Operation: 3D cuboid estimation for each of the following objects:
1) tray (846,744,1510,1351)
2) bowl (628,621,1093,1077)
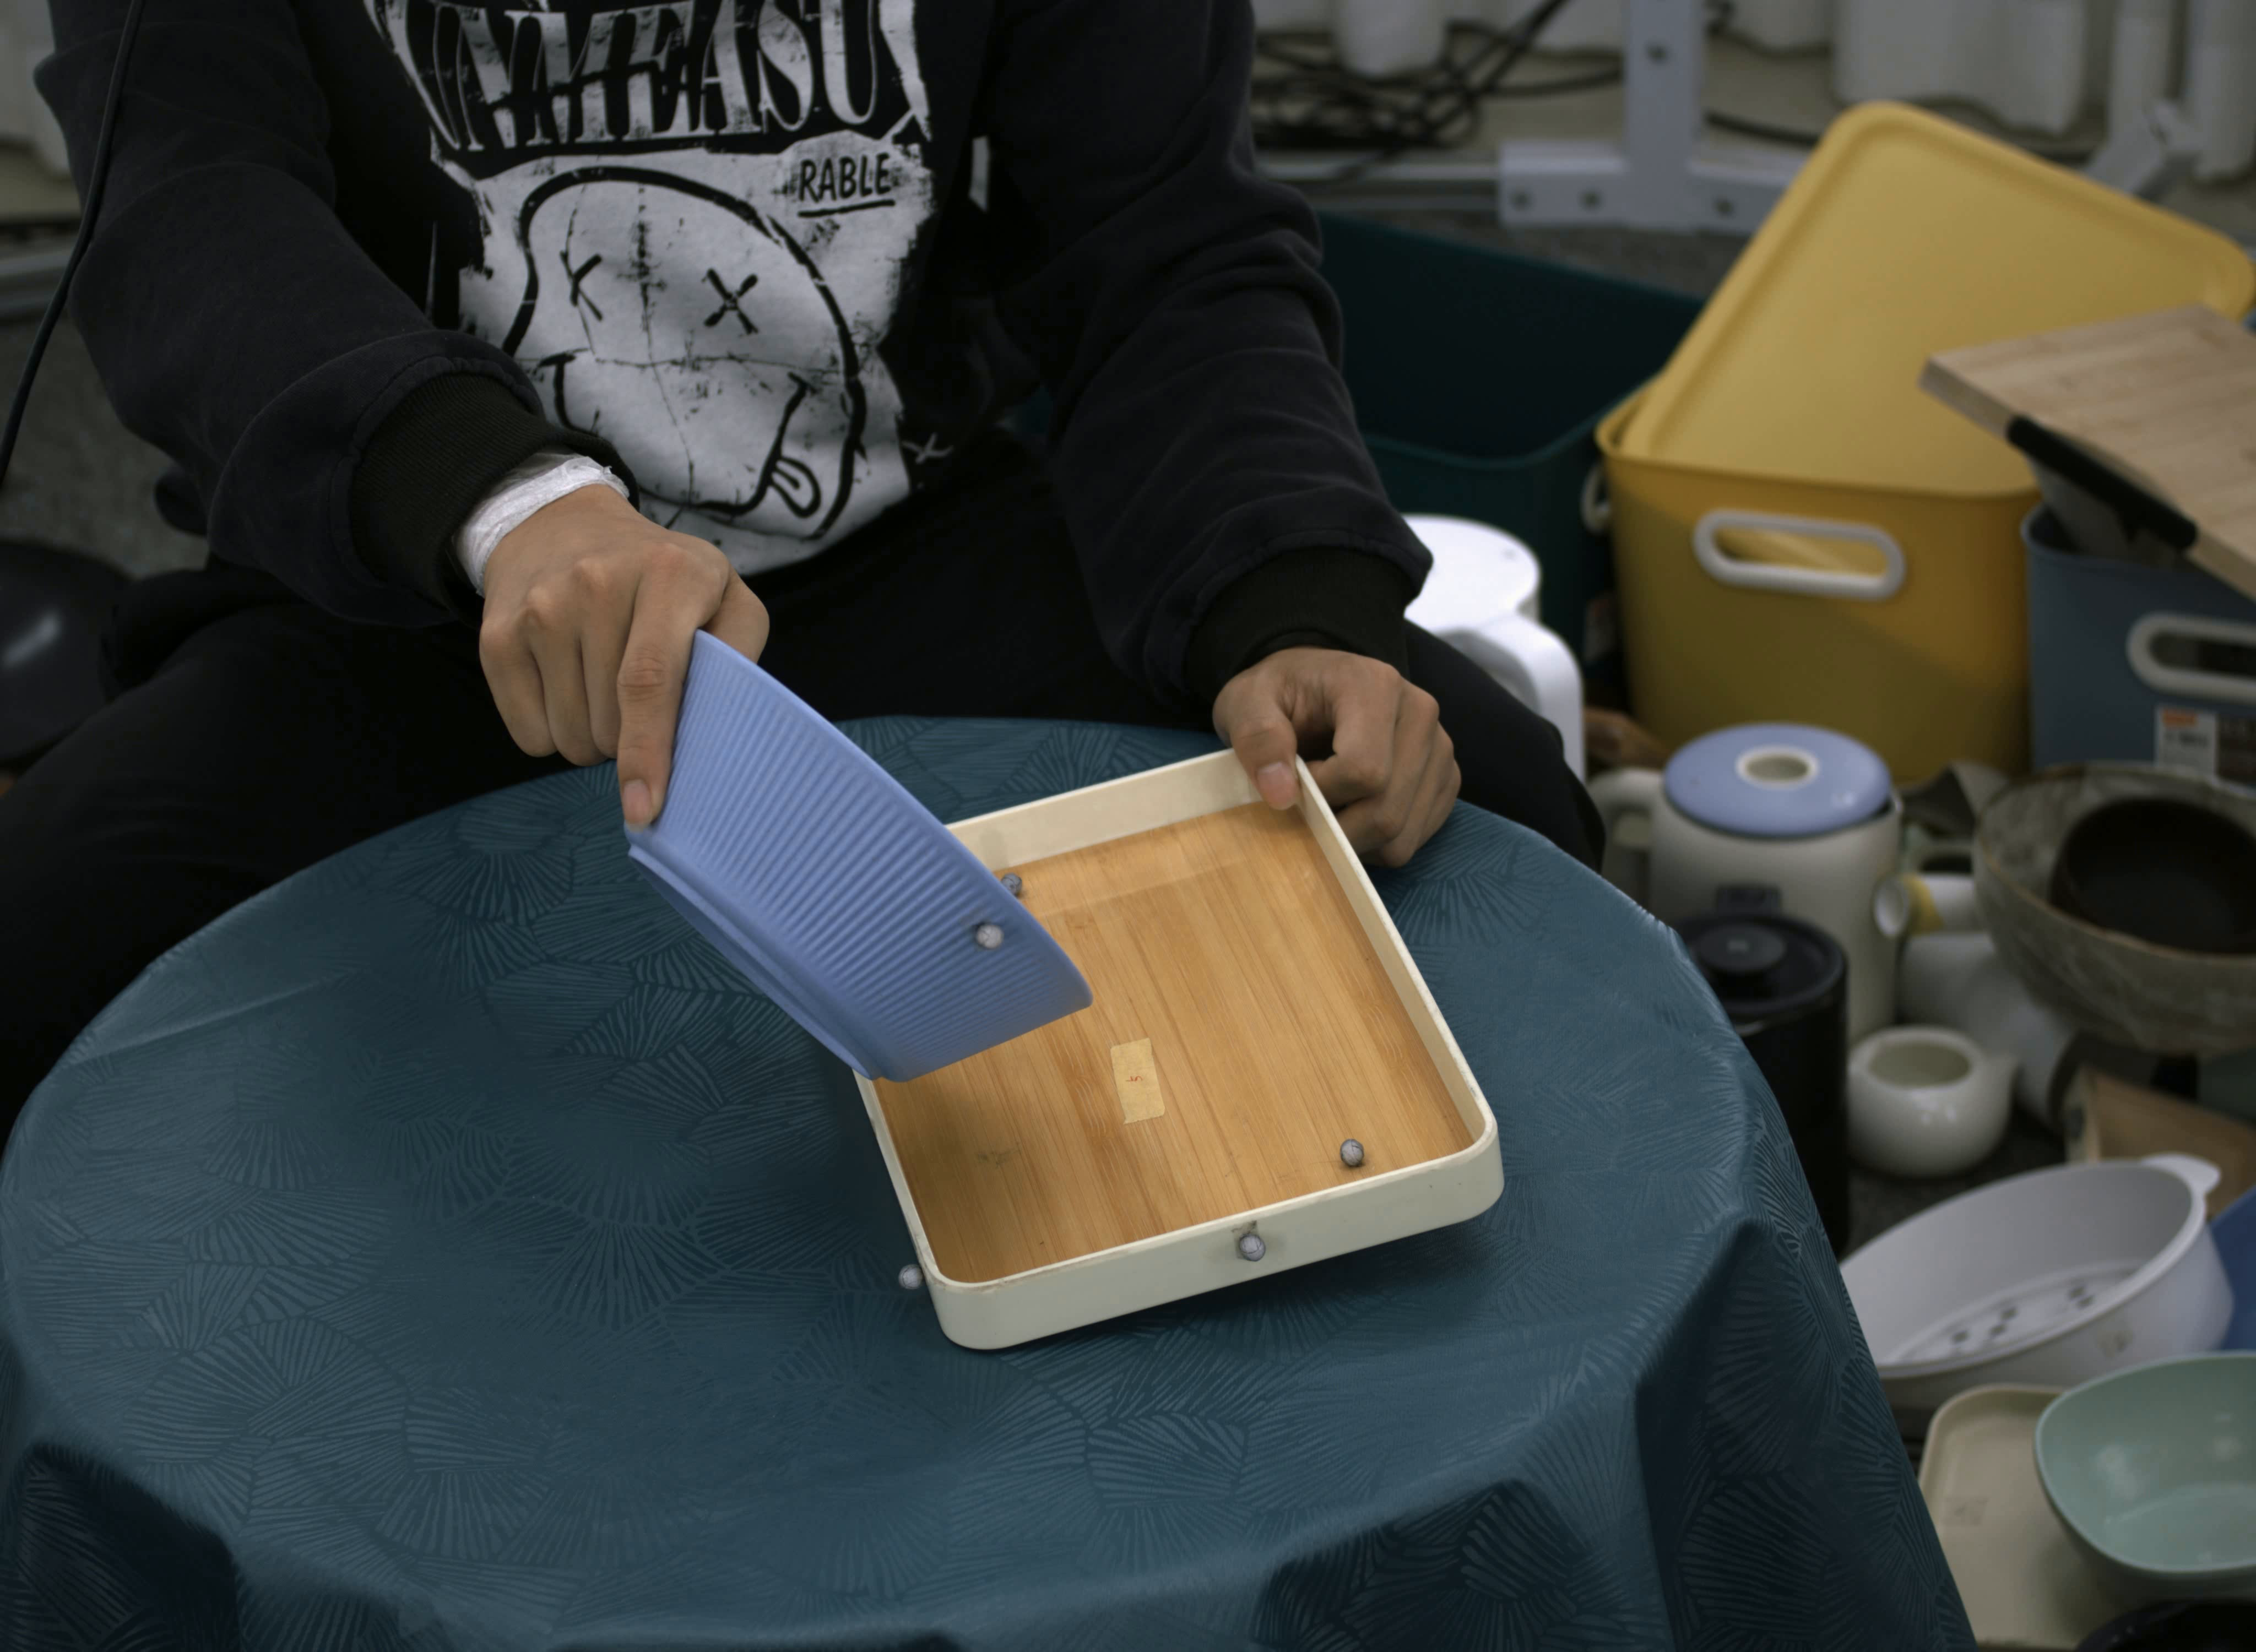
[{"bbox_3d":[0.003,0.069,1.909,0.191,0.027,0.304,-15,29,-6],"label":"tray"},{"bbox_3d":[-0.096,0.018,1.798,0.071,0.174,0.176,-46,40,-8],"label":"bowl"}]
